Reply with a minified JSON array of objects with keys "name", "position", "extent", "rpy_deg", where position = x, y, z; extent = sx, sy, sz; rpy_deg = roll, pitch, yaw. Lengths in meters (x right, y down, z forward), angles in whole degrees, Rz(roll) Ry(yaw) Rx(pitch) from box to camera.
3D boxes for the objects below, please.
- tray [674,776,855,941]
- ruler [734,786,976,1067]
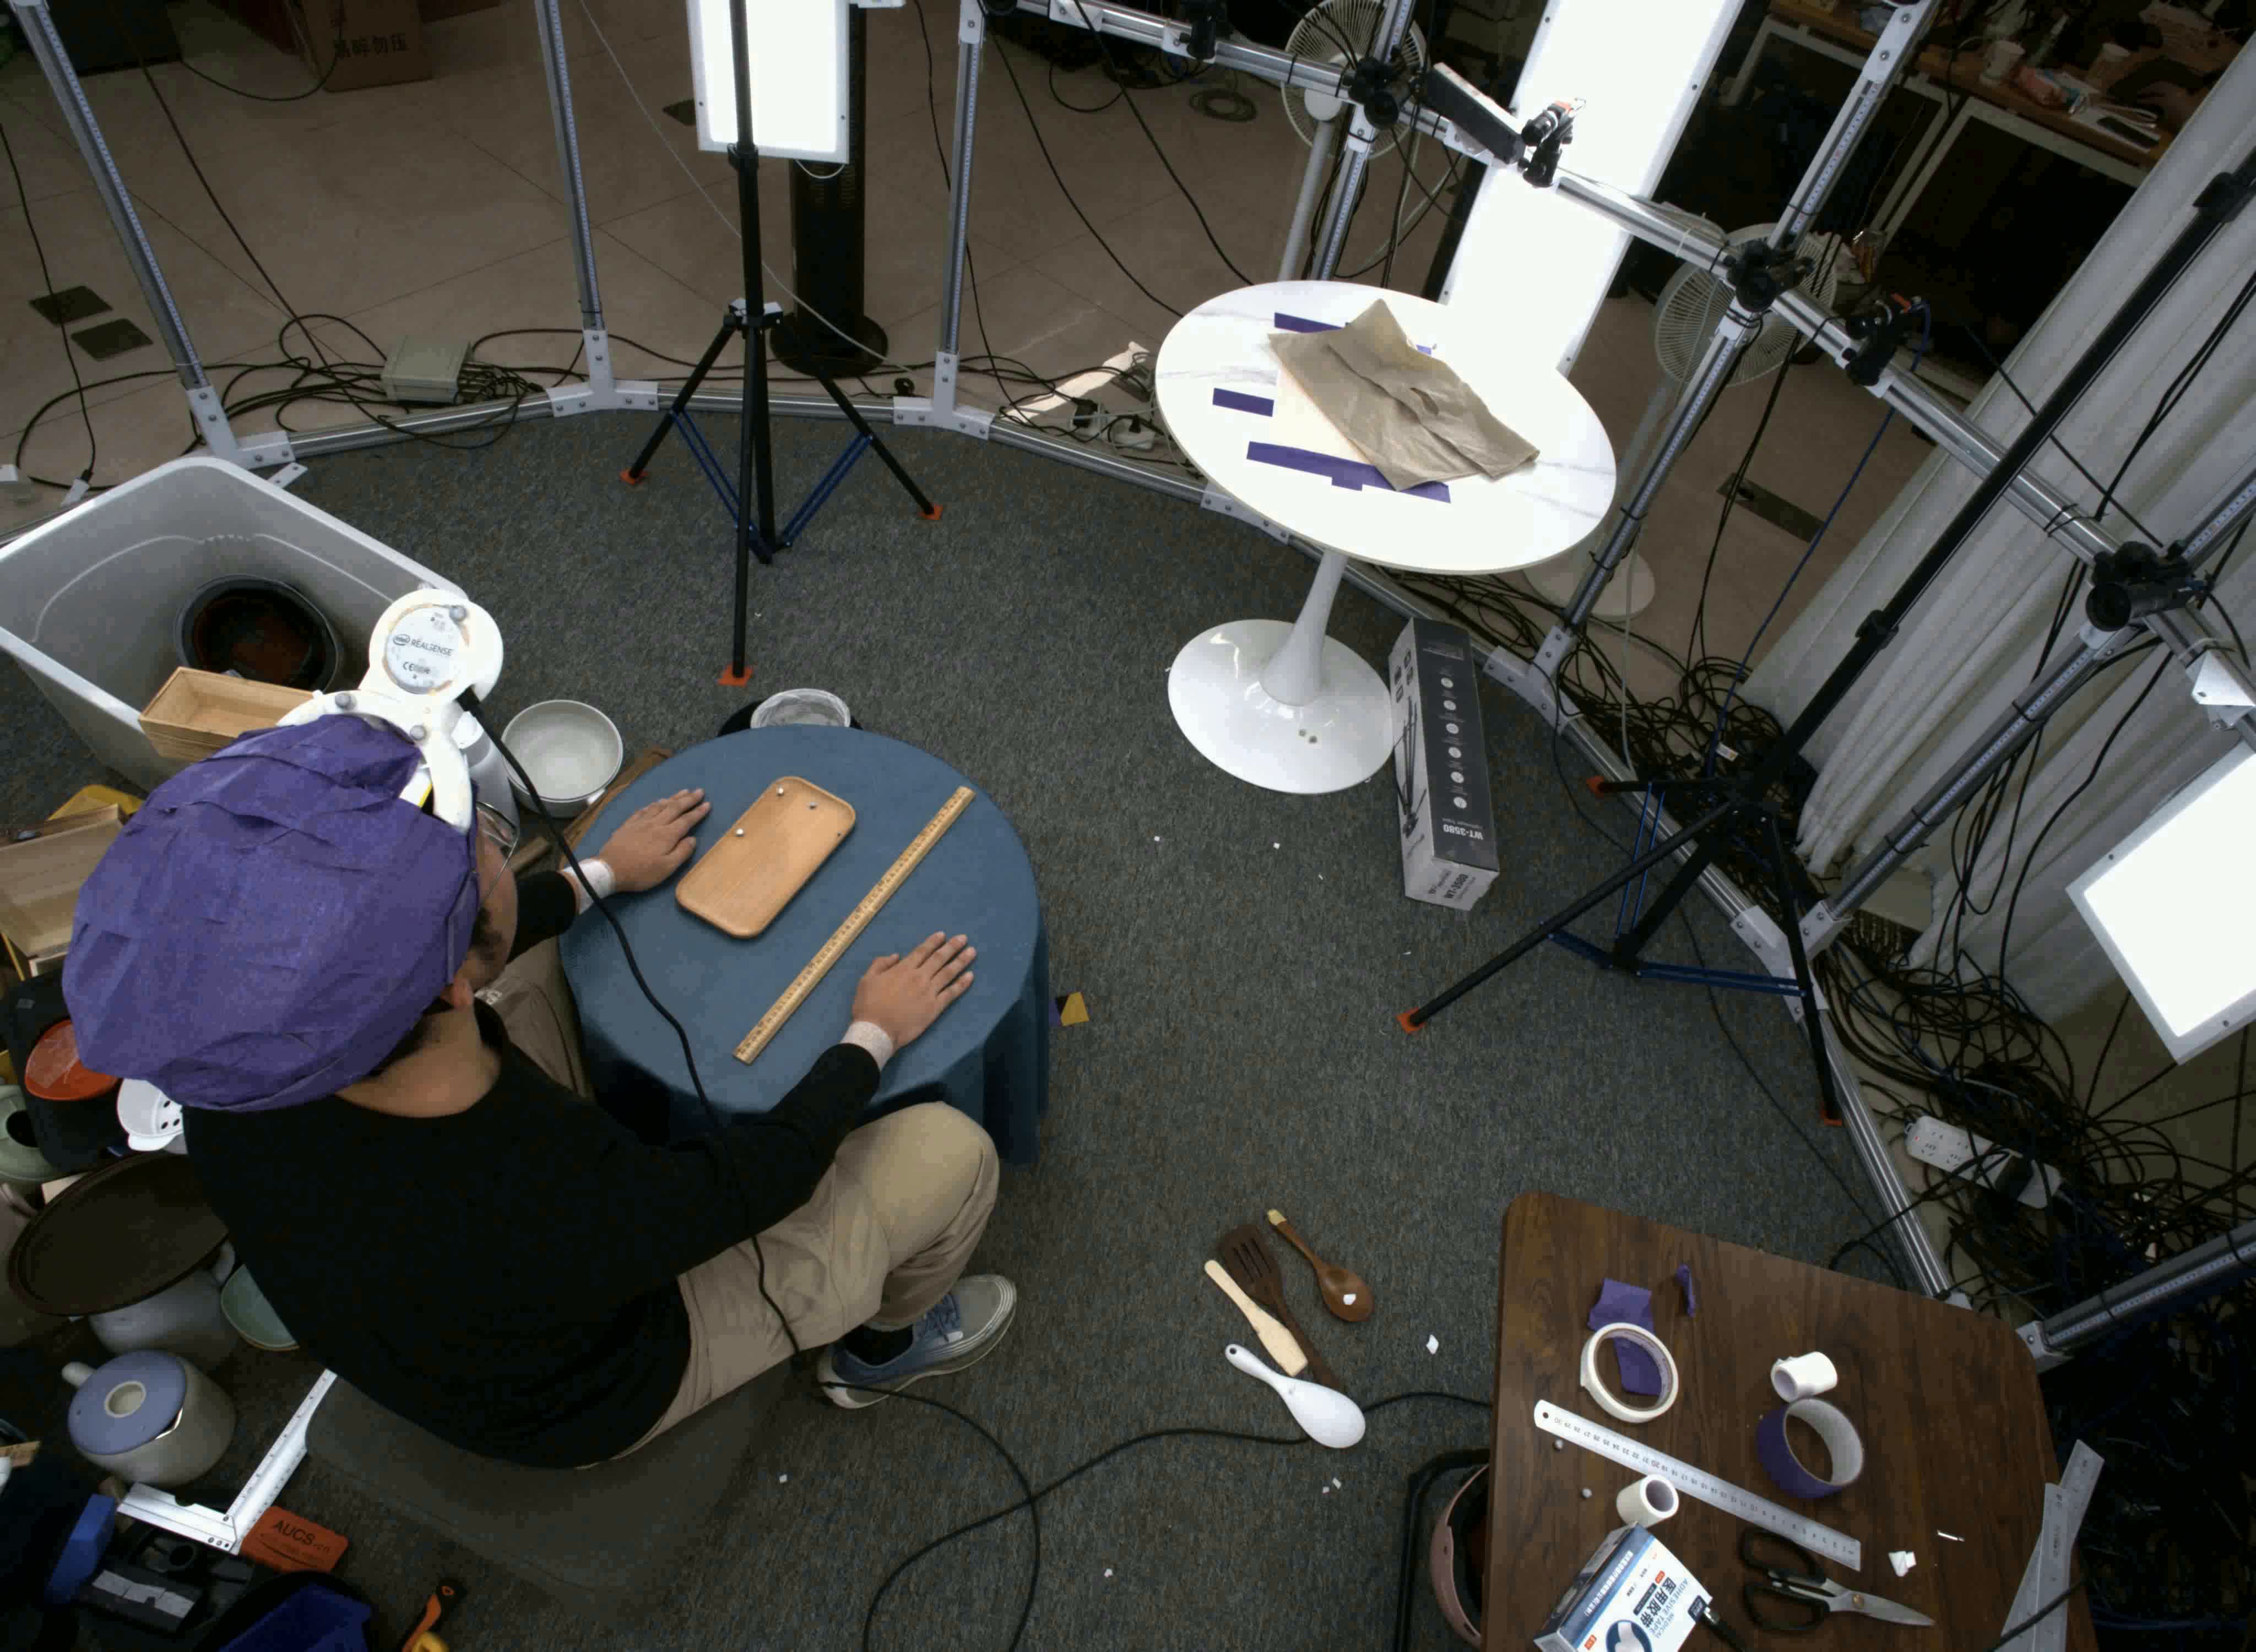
[{"name":"tray","position":[-0.465,0.037,1.669],"extent":[0.128,0.023,0.249],"rpy_deg":[28,53,9]},{"name":"ruler","position":[-0.336,0.110,1.657],"extent":[0.026,0.006,0.498],"rpy_deg":[28,52,10]}]
